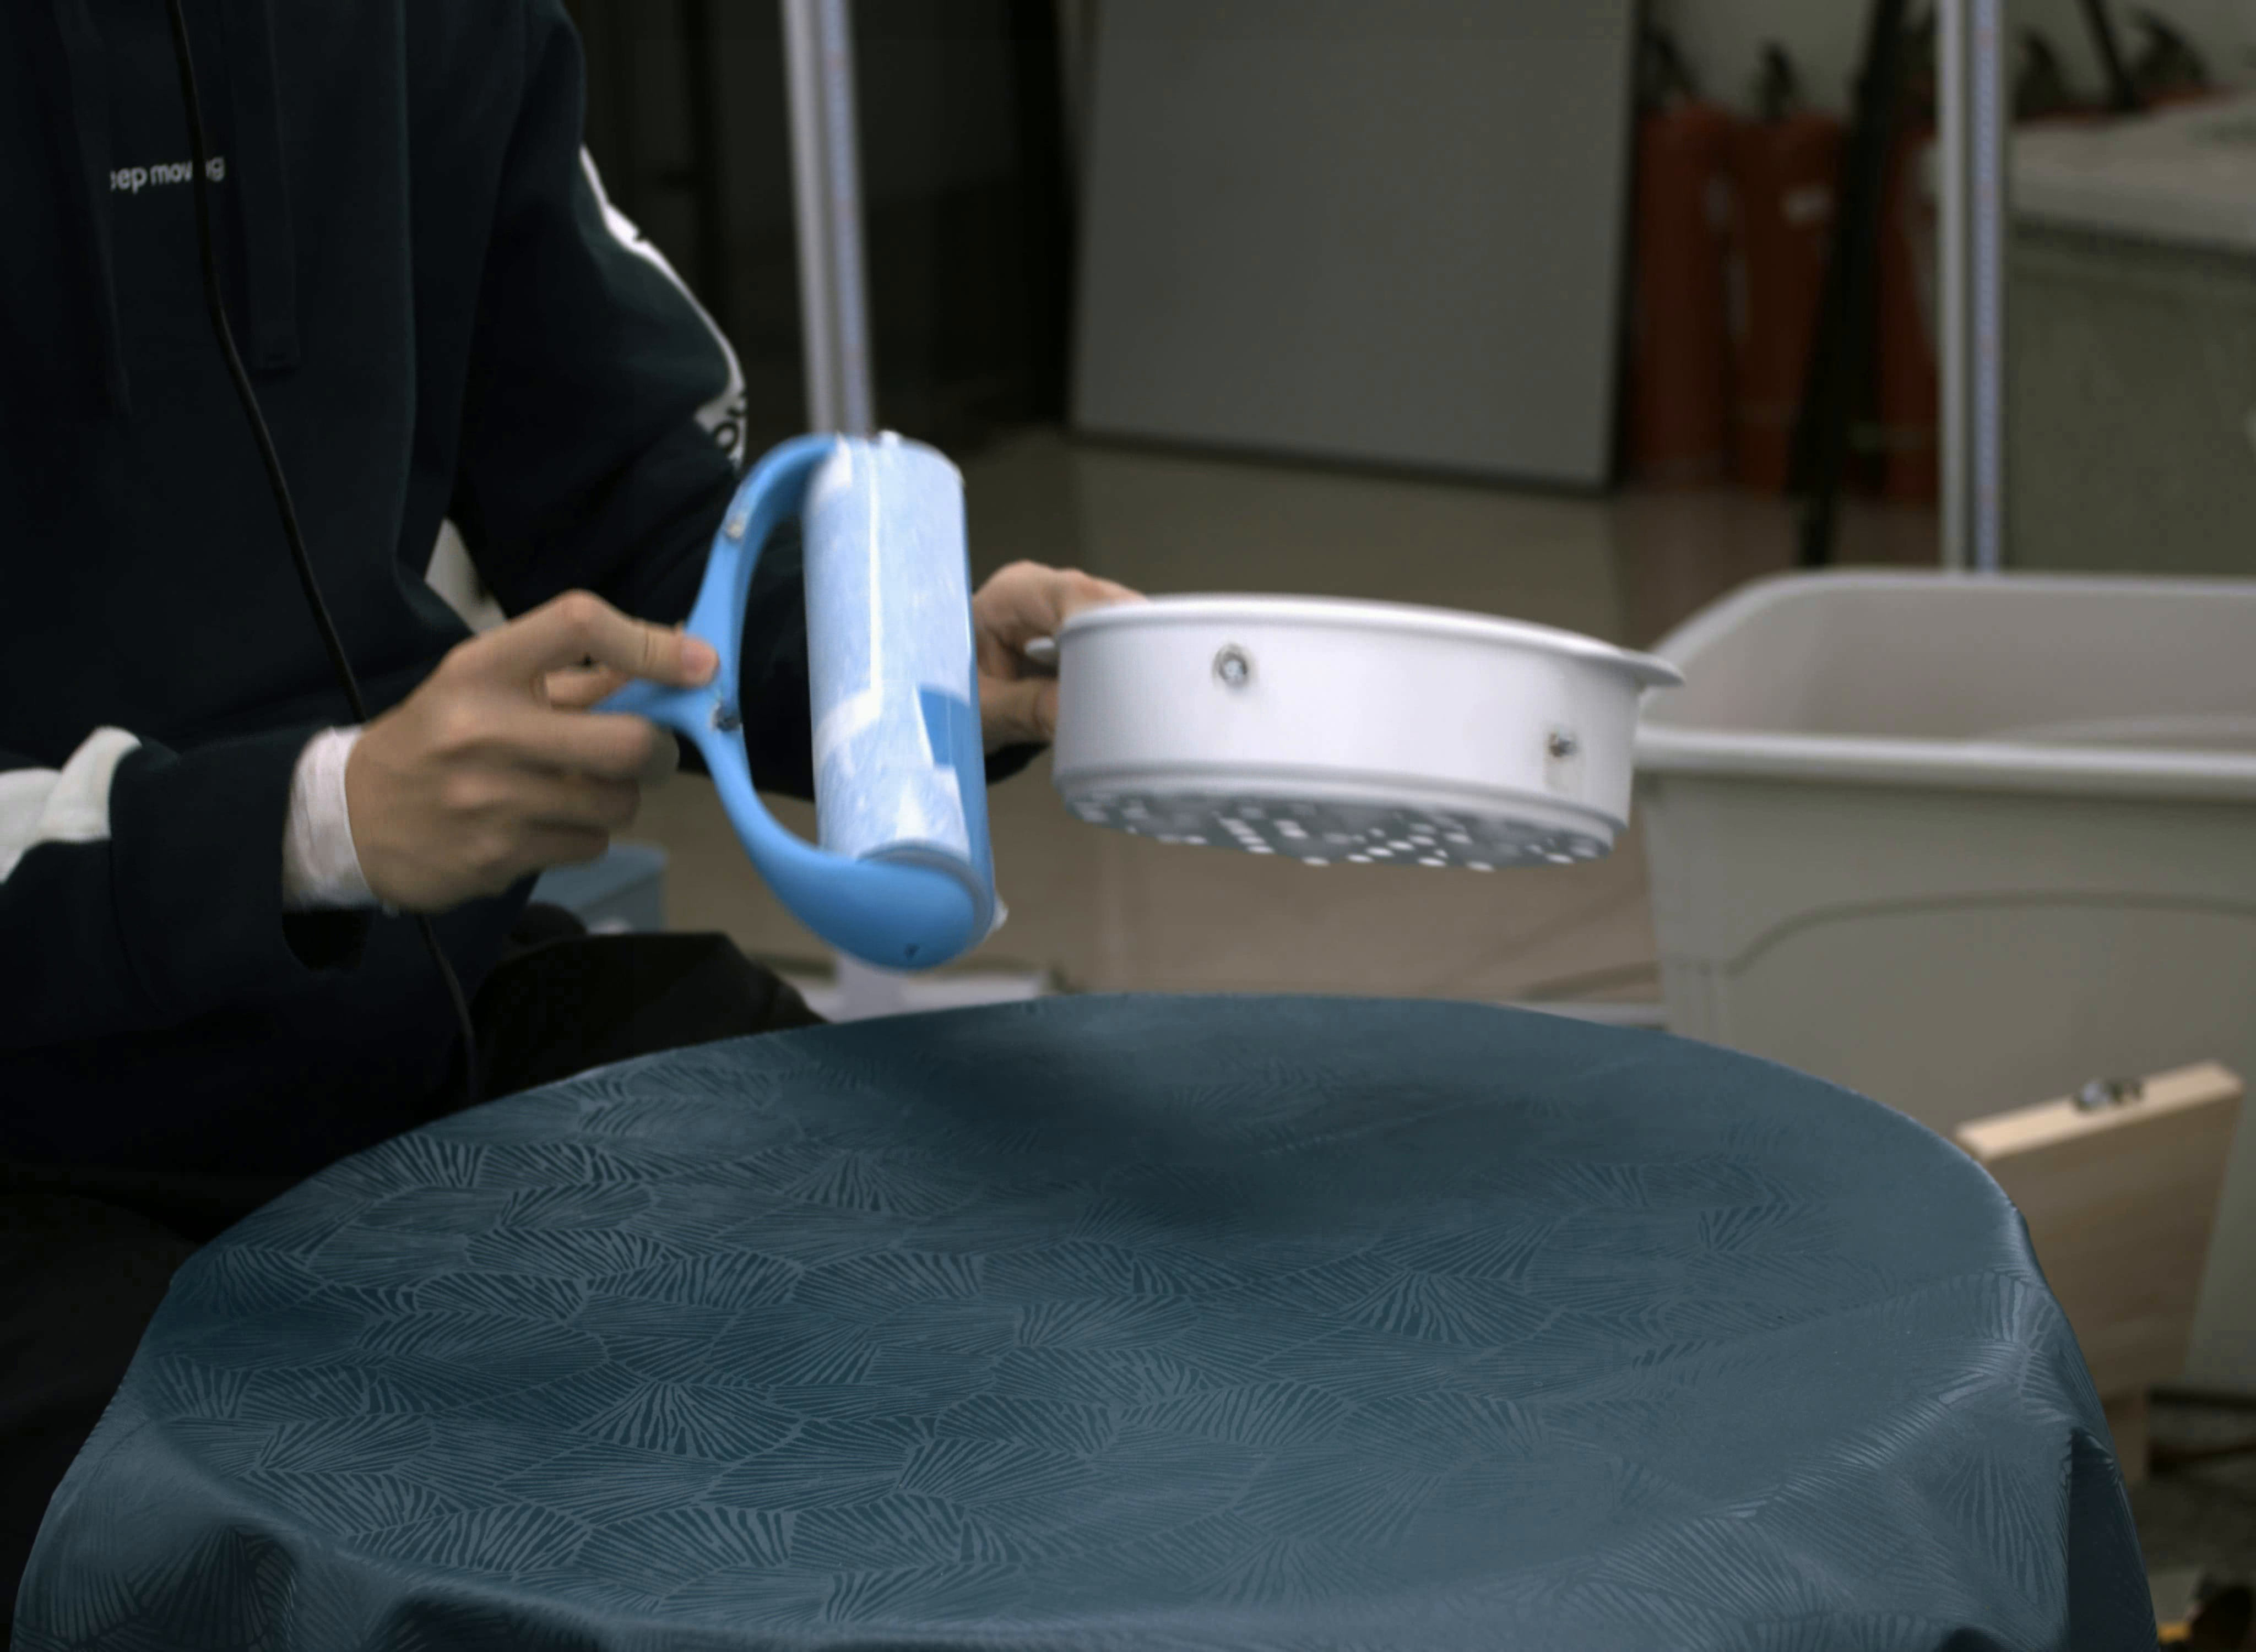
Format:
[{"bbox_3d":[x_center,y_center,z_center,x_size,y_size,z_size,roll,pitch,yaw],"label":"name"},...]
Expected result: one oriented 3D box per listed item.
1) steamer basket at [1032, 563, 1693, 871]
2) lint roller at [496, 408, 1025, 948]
[{"bbox_3d":[0.074,-0.031,1.793,0.231,0.070,0.199,0,-11,27],"label":"steamer basket"},{"bbox_3d":[-0.125,-0.030,1.704,0.179,0.067,0.231,-19,45,6],"label":"lint roller"}]
